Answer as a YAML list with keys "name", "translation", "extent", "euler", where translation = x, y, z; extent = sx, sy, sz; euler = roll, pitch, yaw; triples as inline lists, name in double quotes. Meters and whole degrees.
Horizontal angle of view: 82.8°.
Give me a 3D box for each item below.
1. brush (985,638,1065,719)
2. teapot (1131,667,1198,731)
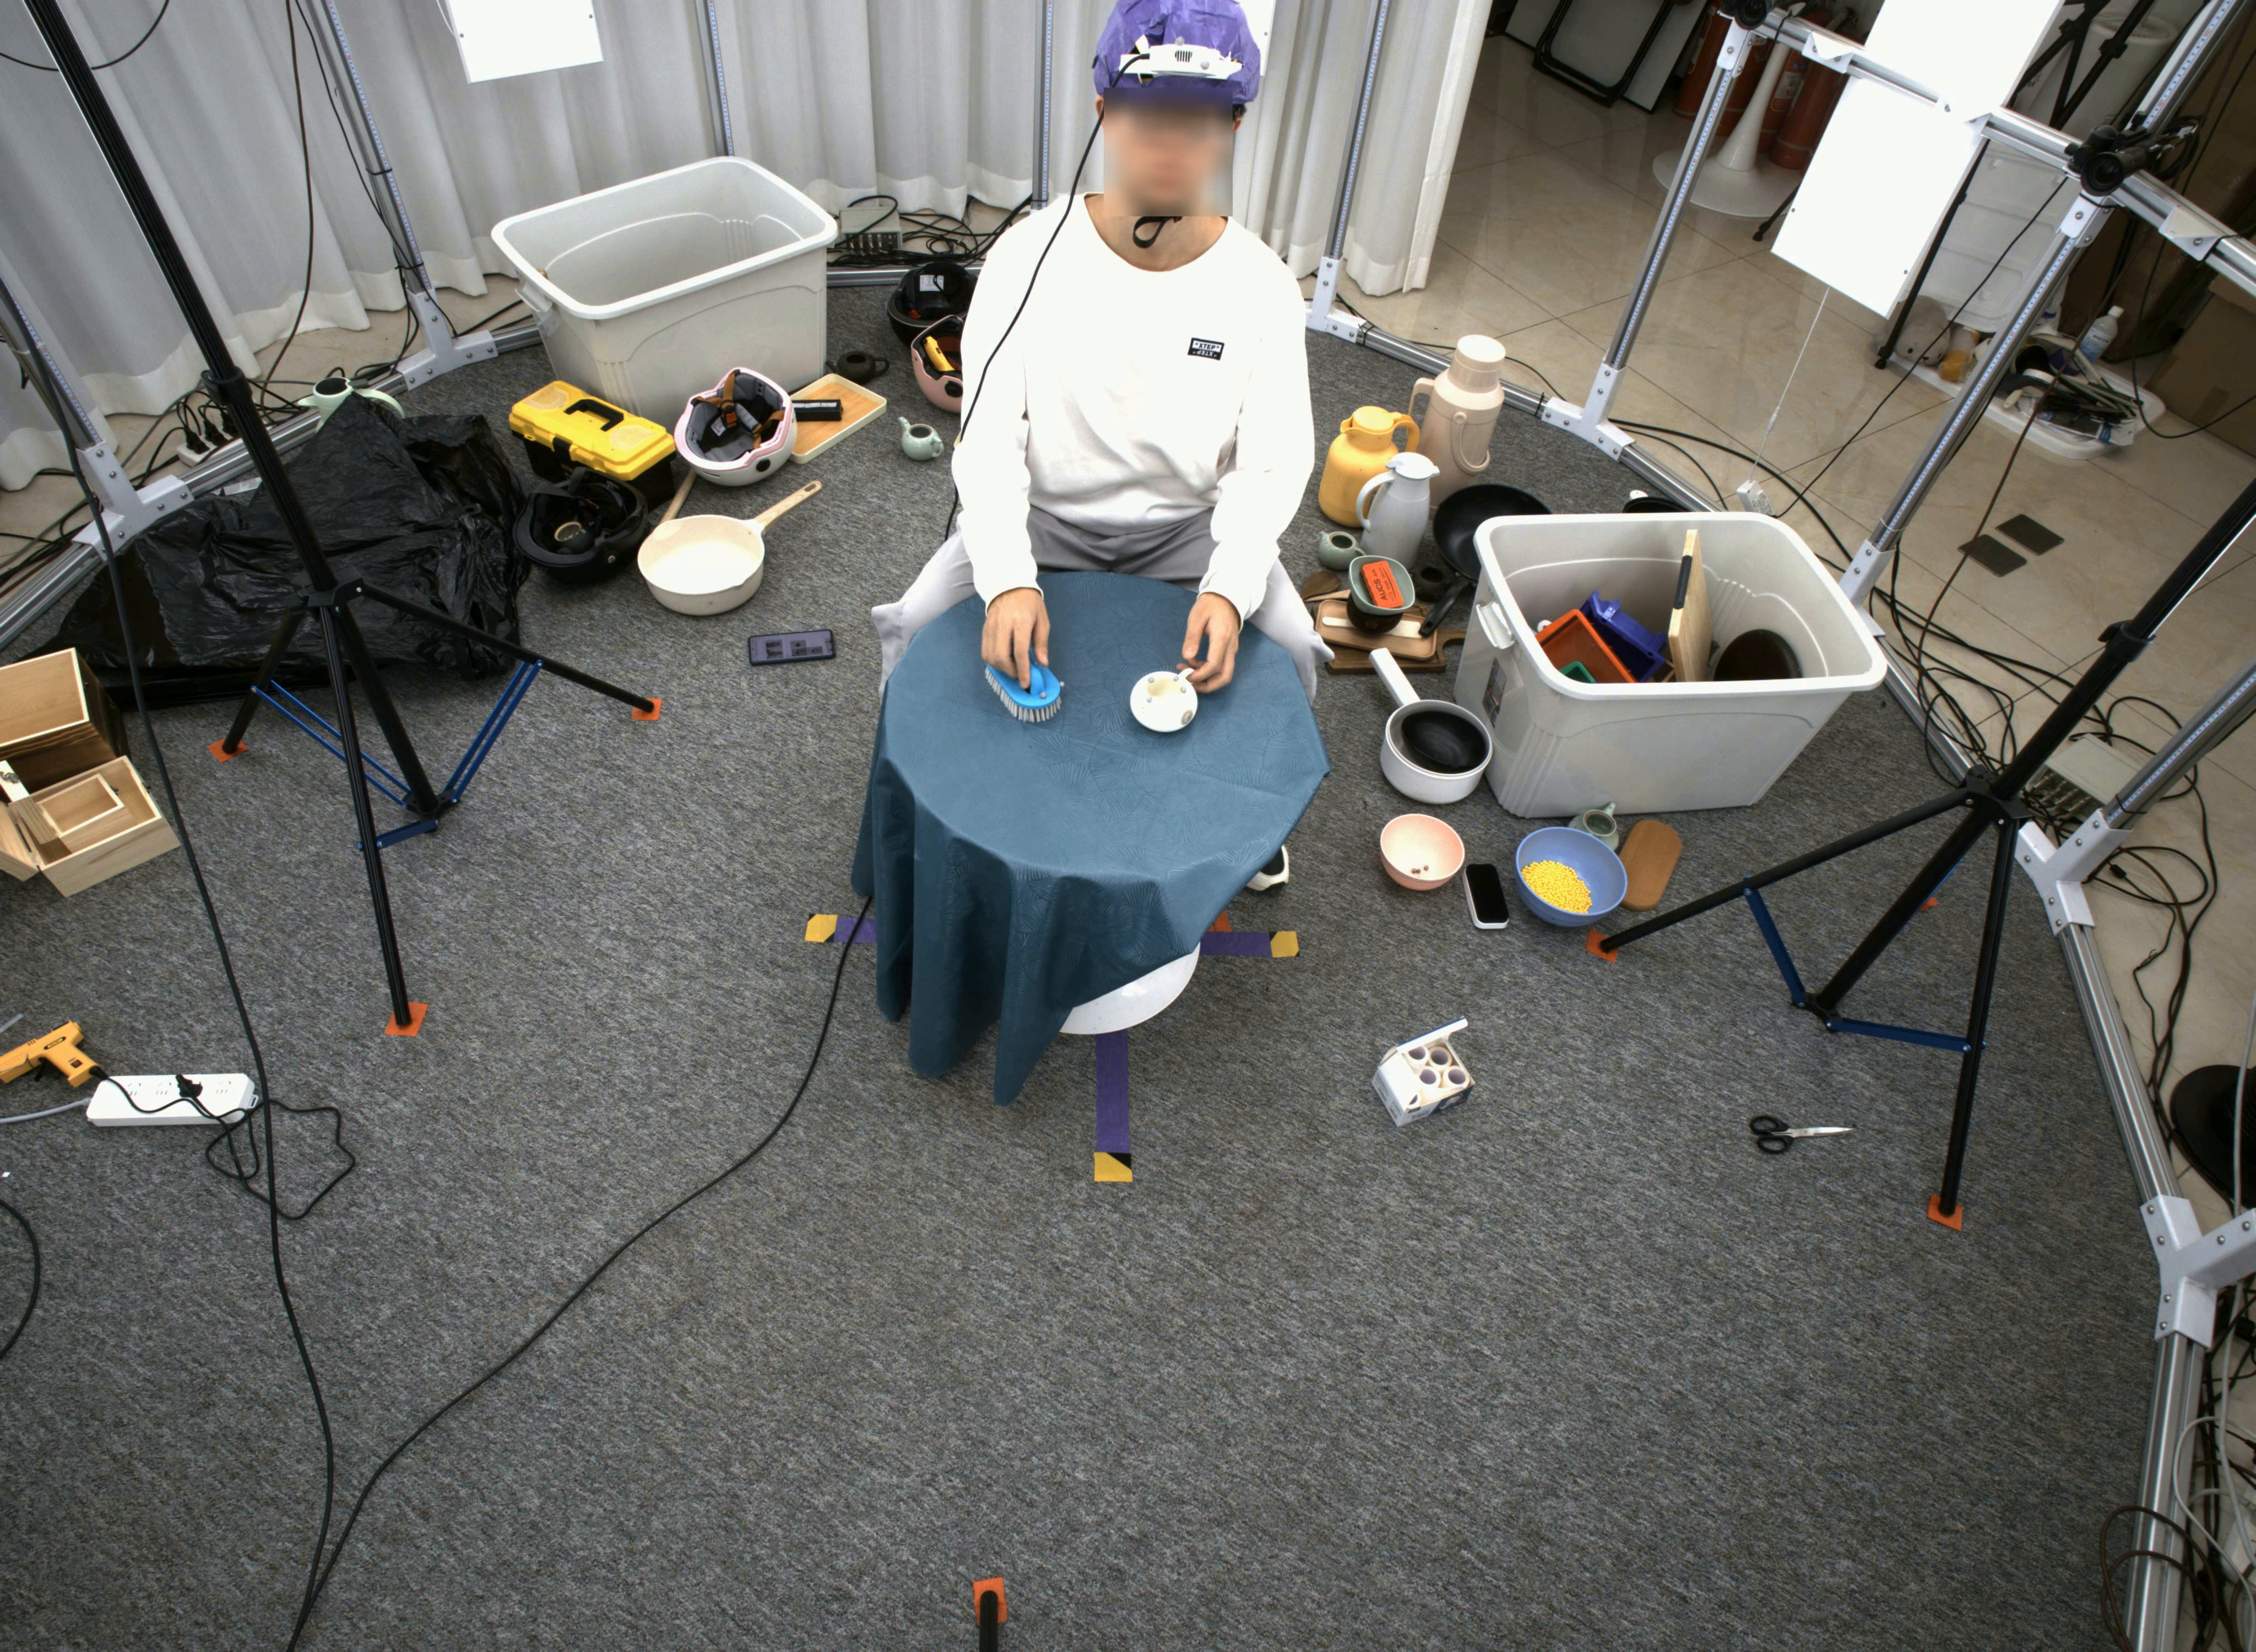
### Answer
- name: "brush"
  translation: [-0.147, -0.217, 1.800]
  extent: [0.084, 0.062, 0.145]
  euler: [-24, 54, -17]
- name: "teapot"
  translation: [0.057, -0.180, 1.789]
  extent: [0.094, 0.055, 0.129]
  euler: [26, 51, 23]
